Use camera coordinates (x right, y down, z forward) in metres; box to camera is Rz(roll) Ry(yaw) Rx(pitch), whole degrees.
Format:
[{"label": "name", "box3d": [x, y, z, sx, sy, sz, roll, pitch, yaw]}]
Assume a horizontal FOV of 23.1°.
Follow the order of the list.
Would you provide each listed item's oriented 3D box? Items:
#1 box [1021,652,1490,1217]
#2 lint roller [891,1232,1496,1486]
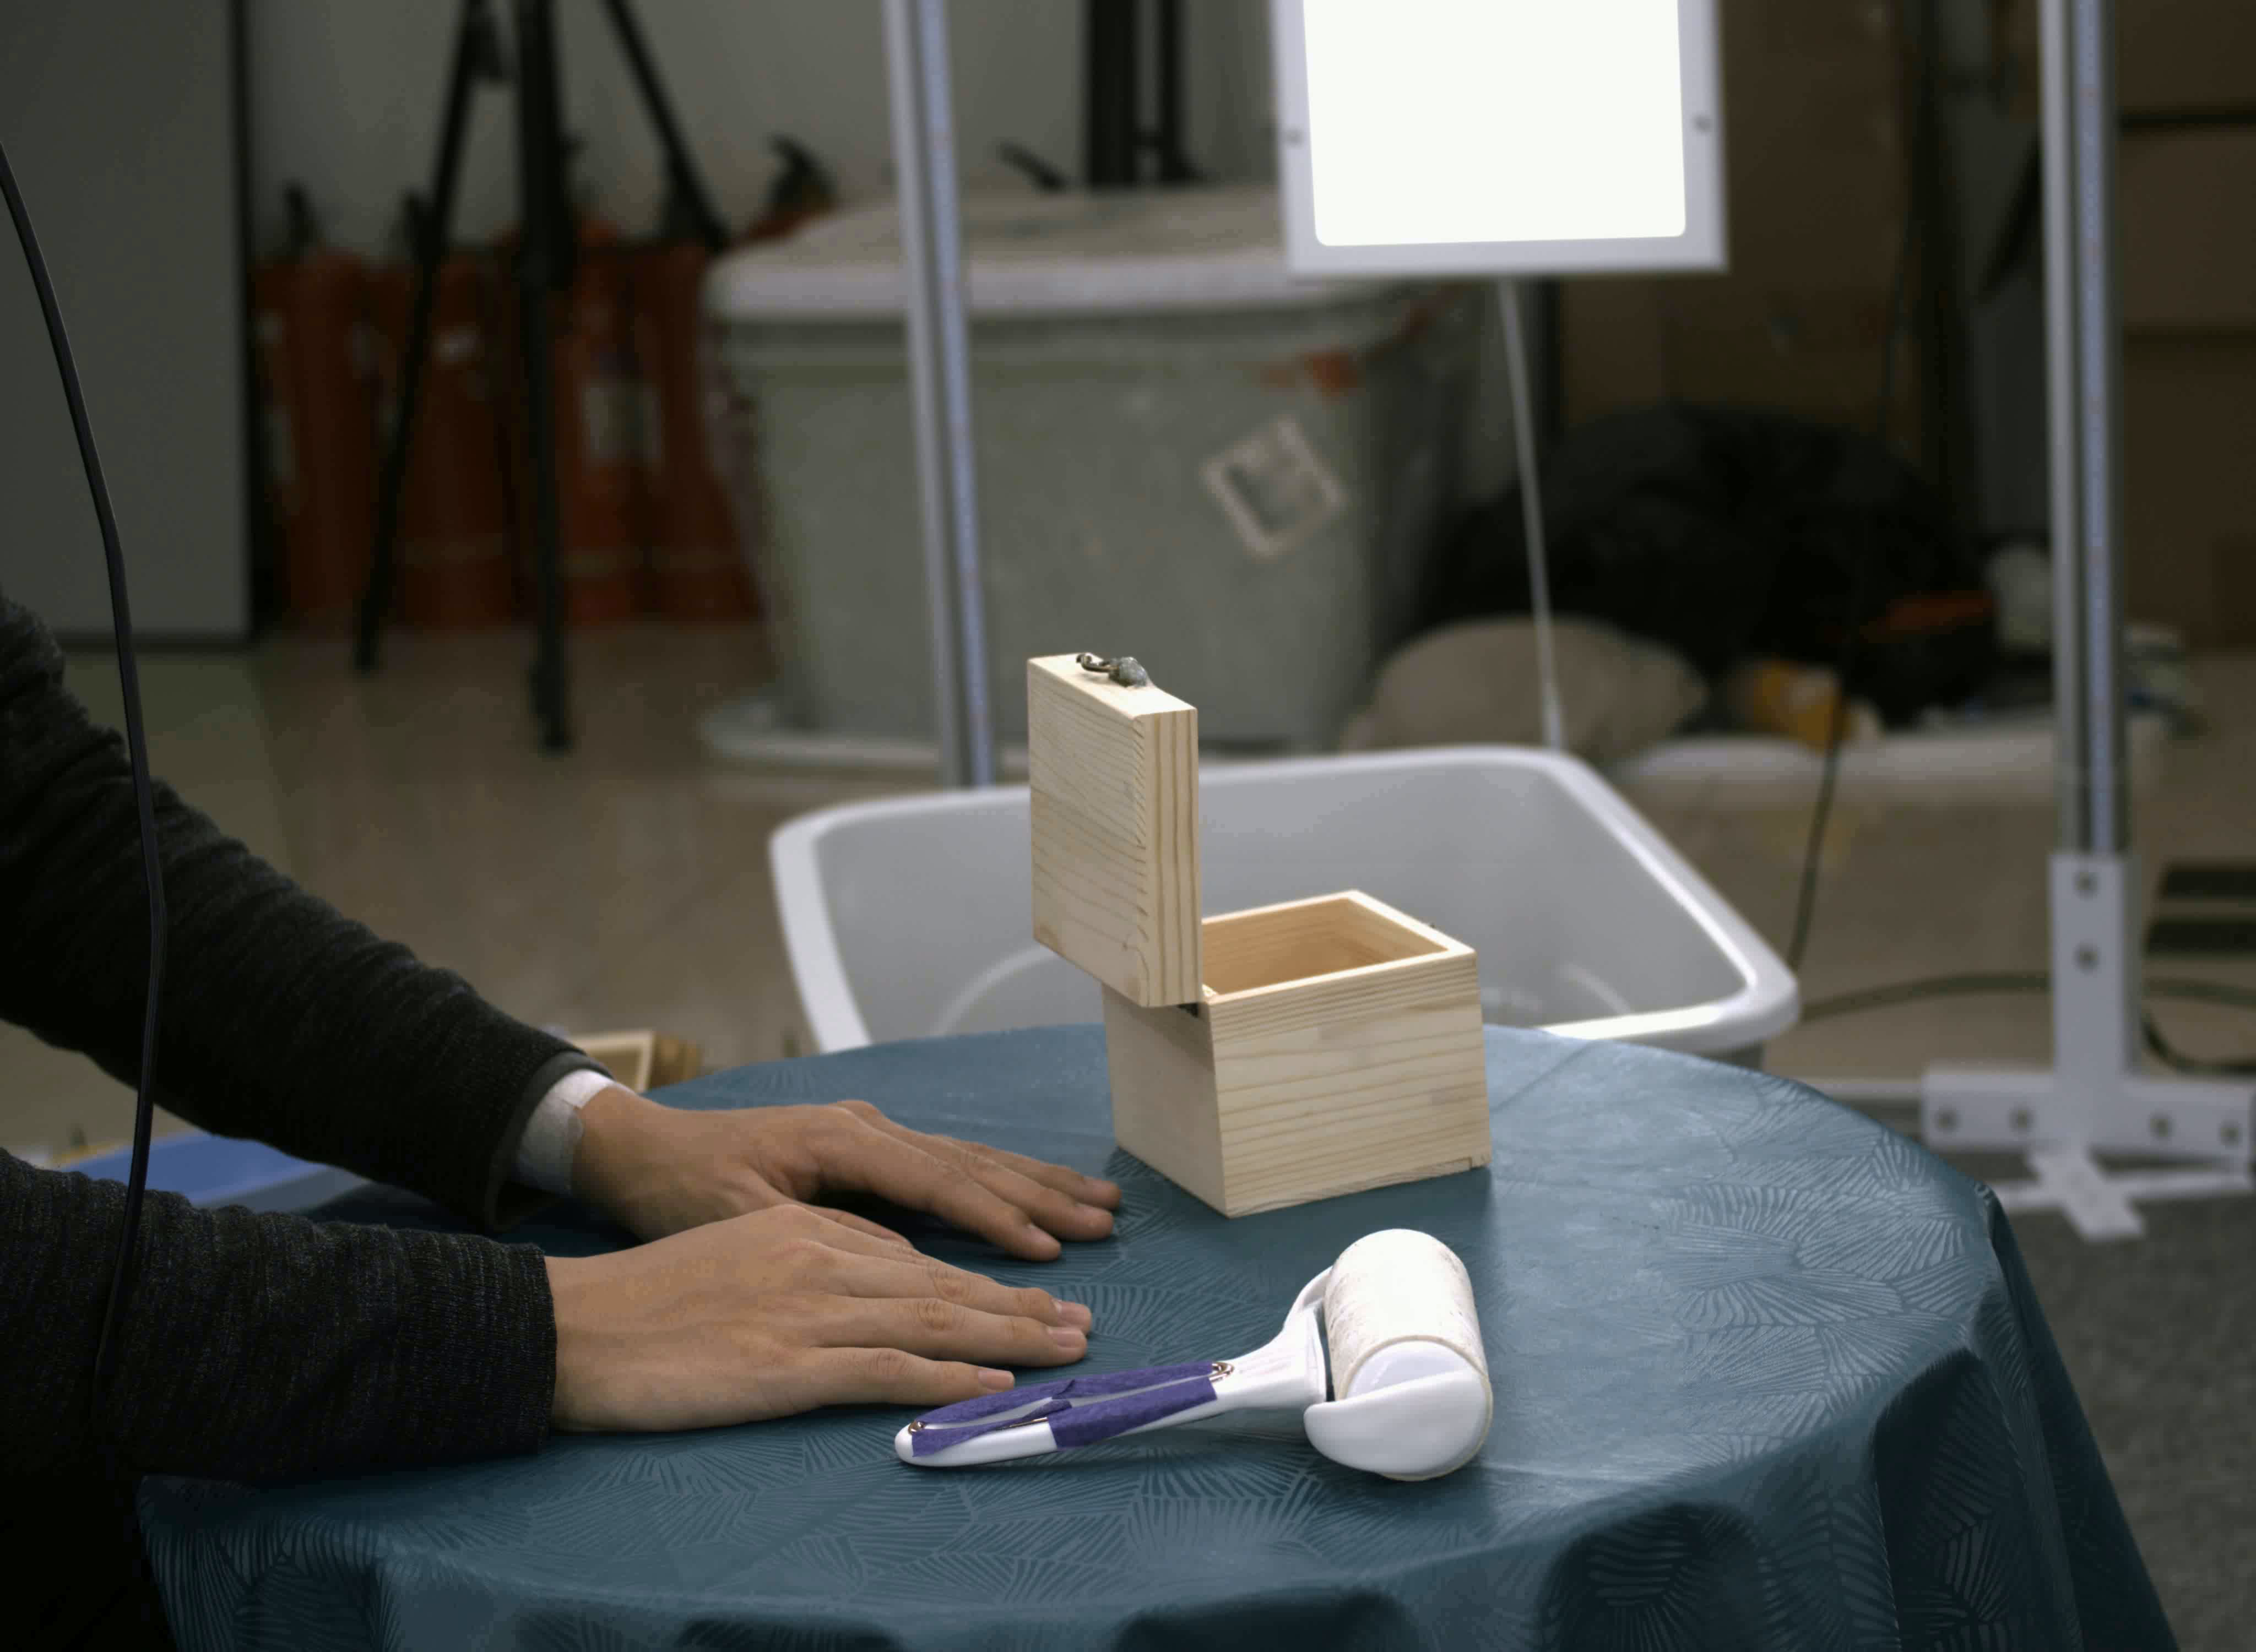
[{"label": "box", "box3d": [0.045, 0.028, 1.896, 0.131, 0.185, 0.104, -10, 15, -19]}, {"label": "lint roller", "box3d": [0.018, 0.161, 1.650, 0.181, 0.050, 0.132, -2, 15, 4]}]
